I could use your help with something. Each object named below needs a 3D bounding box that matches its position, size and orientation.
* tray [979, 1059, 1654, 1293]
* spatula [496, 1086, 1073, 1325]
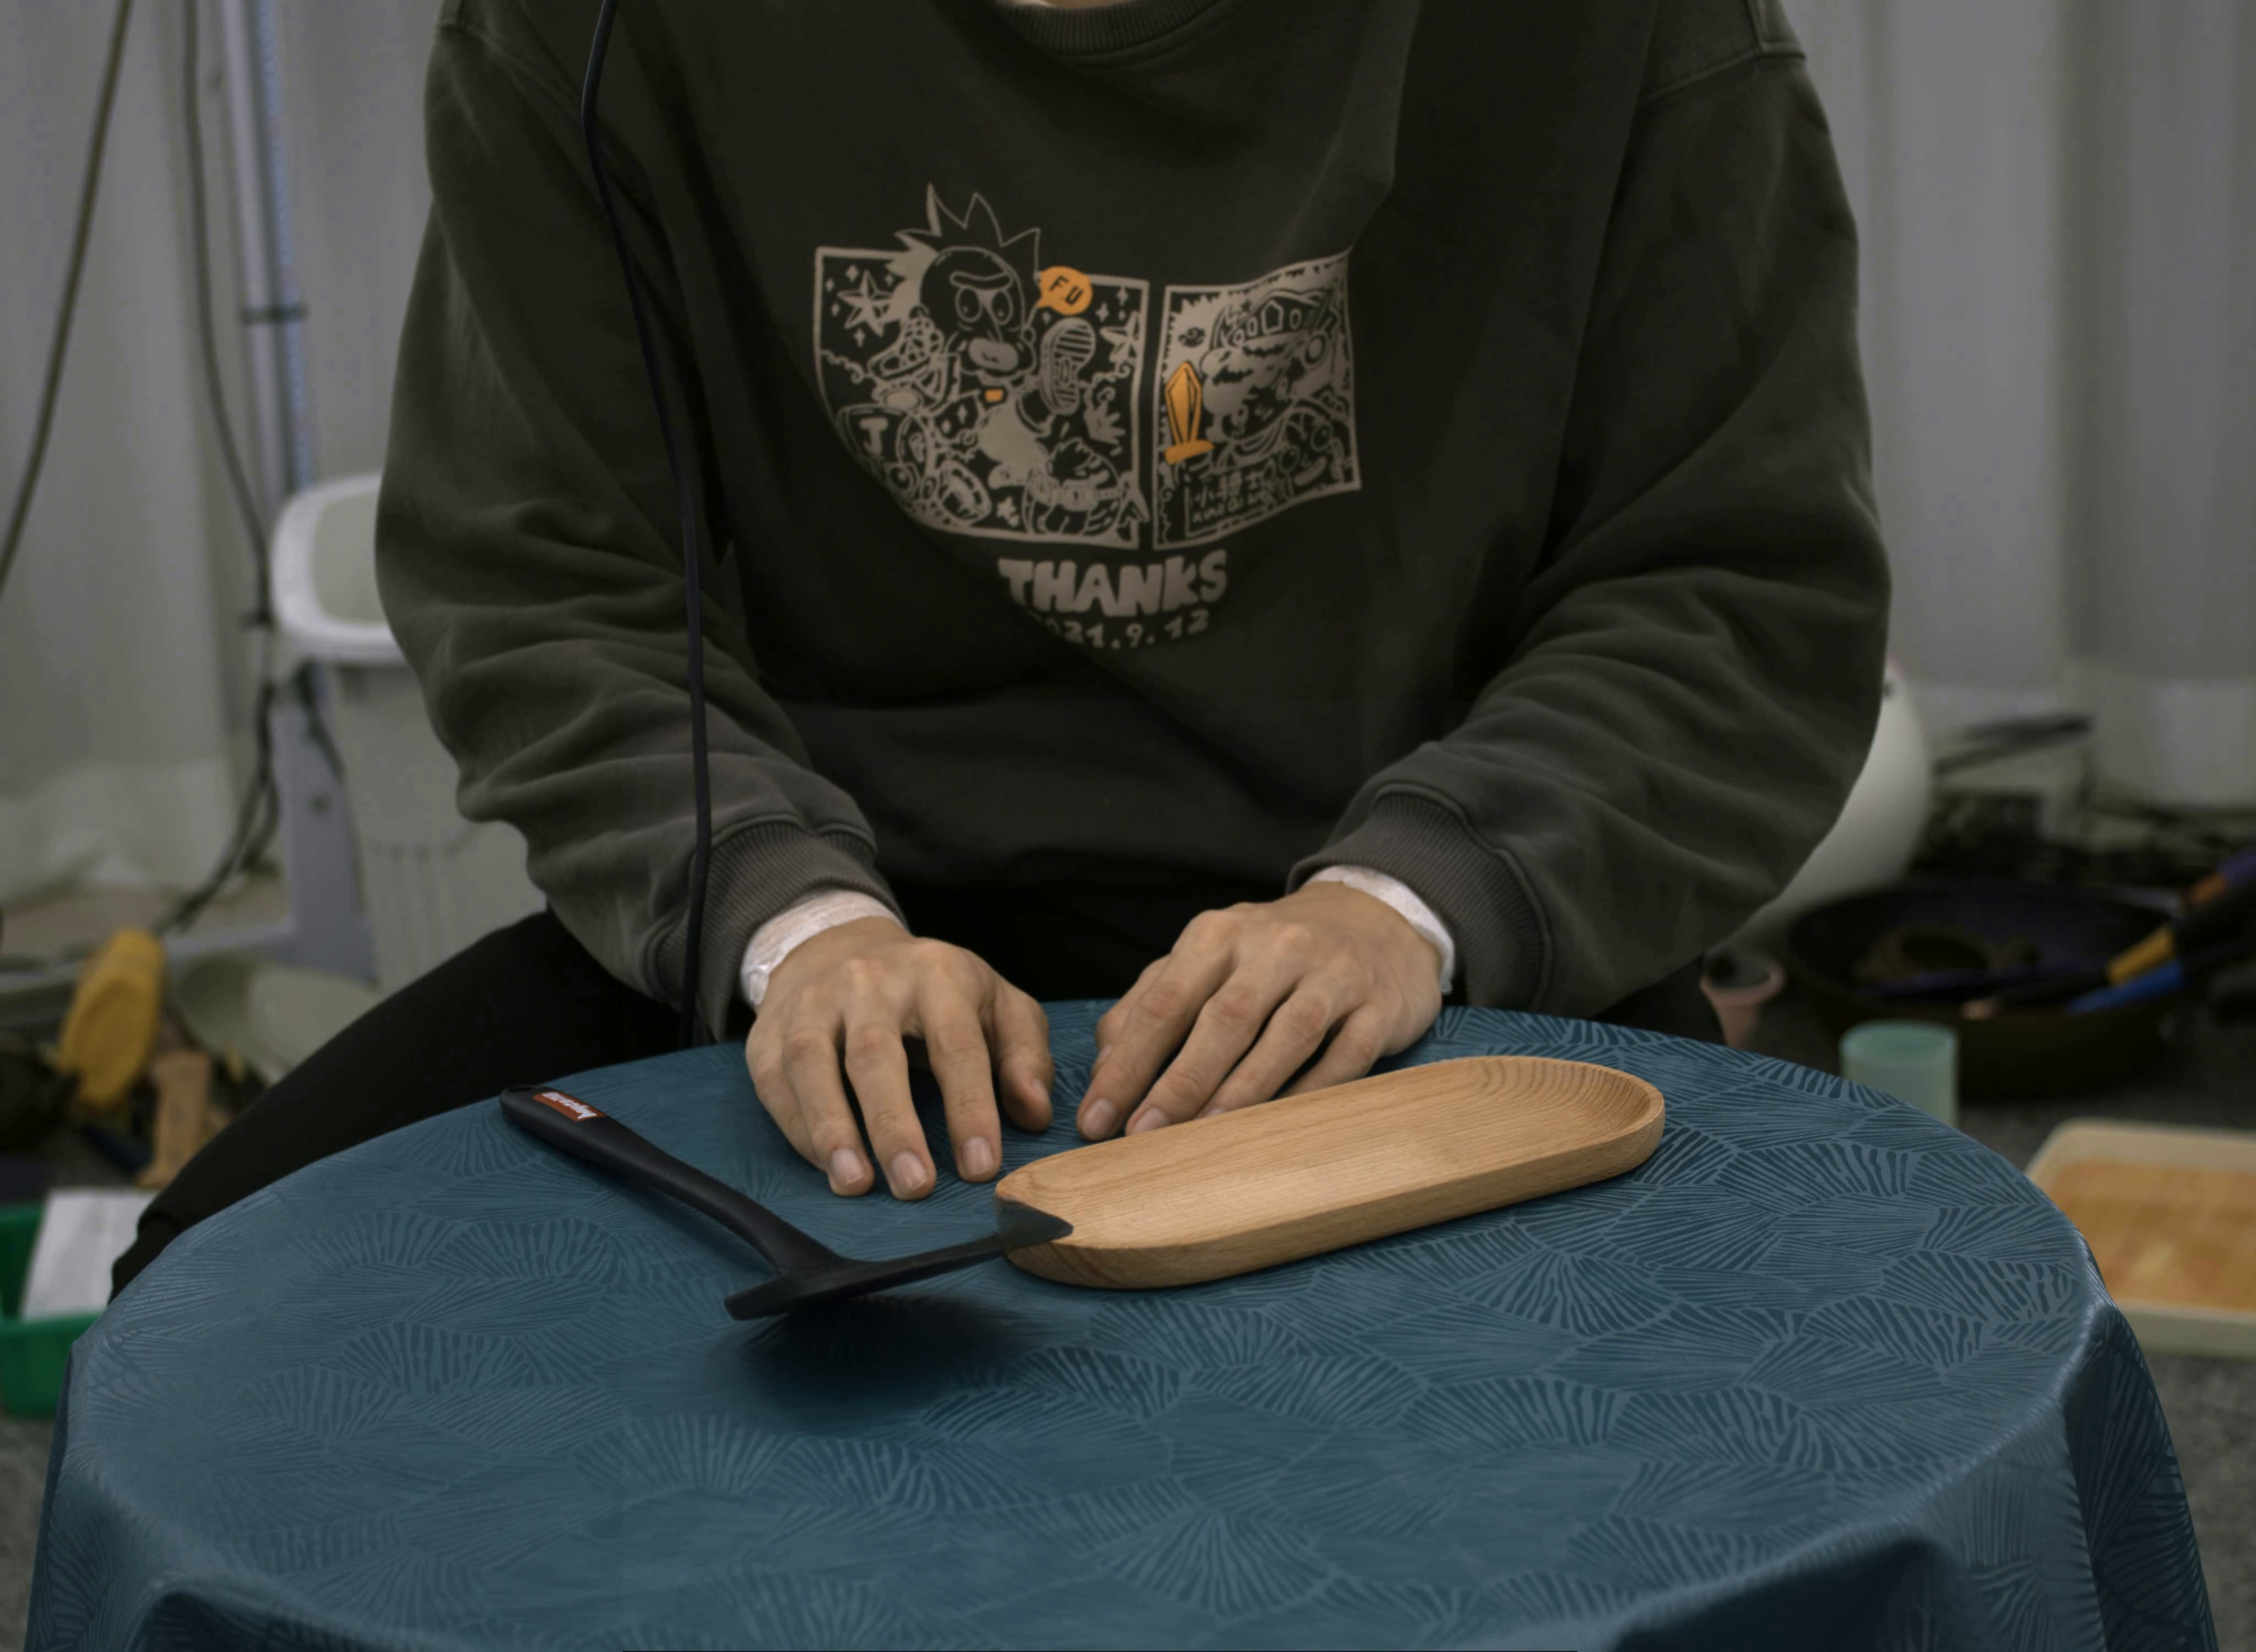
[{"bbox_3d":[0.061,0.108,1.704,0.230,0.020,0.102,-13,17,-29],"label":"tray"},{"bbox_3d":[-0.130,0.110,1.696,0.099,0.040,0.328,-9,16,-27],"label":"spatula"}]
